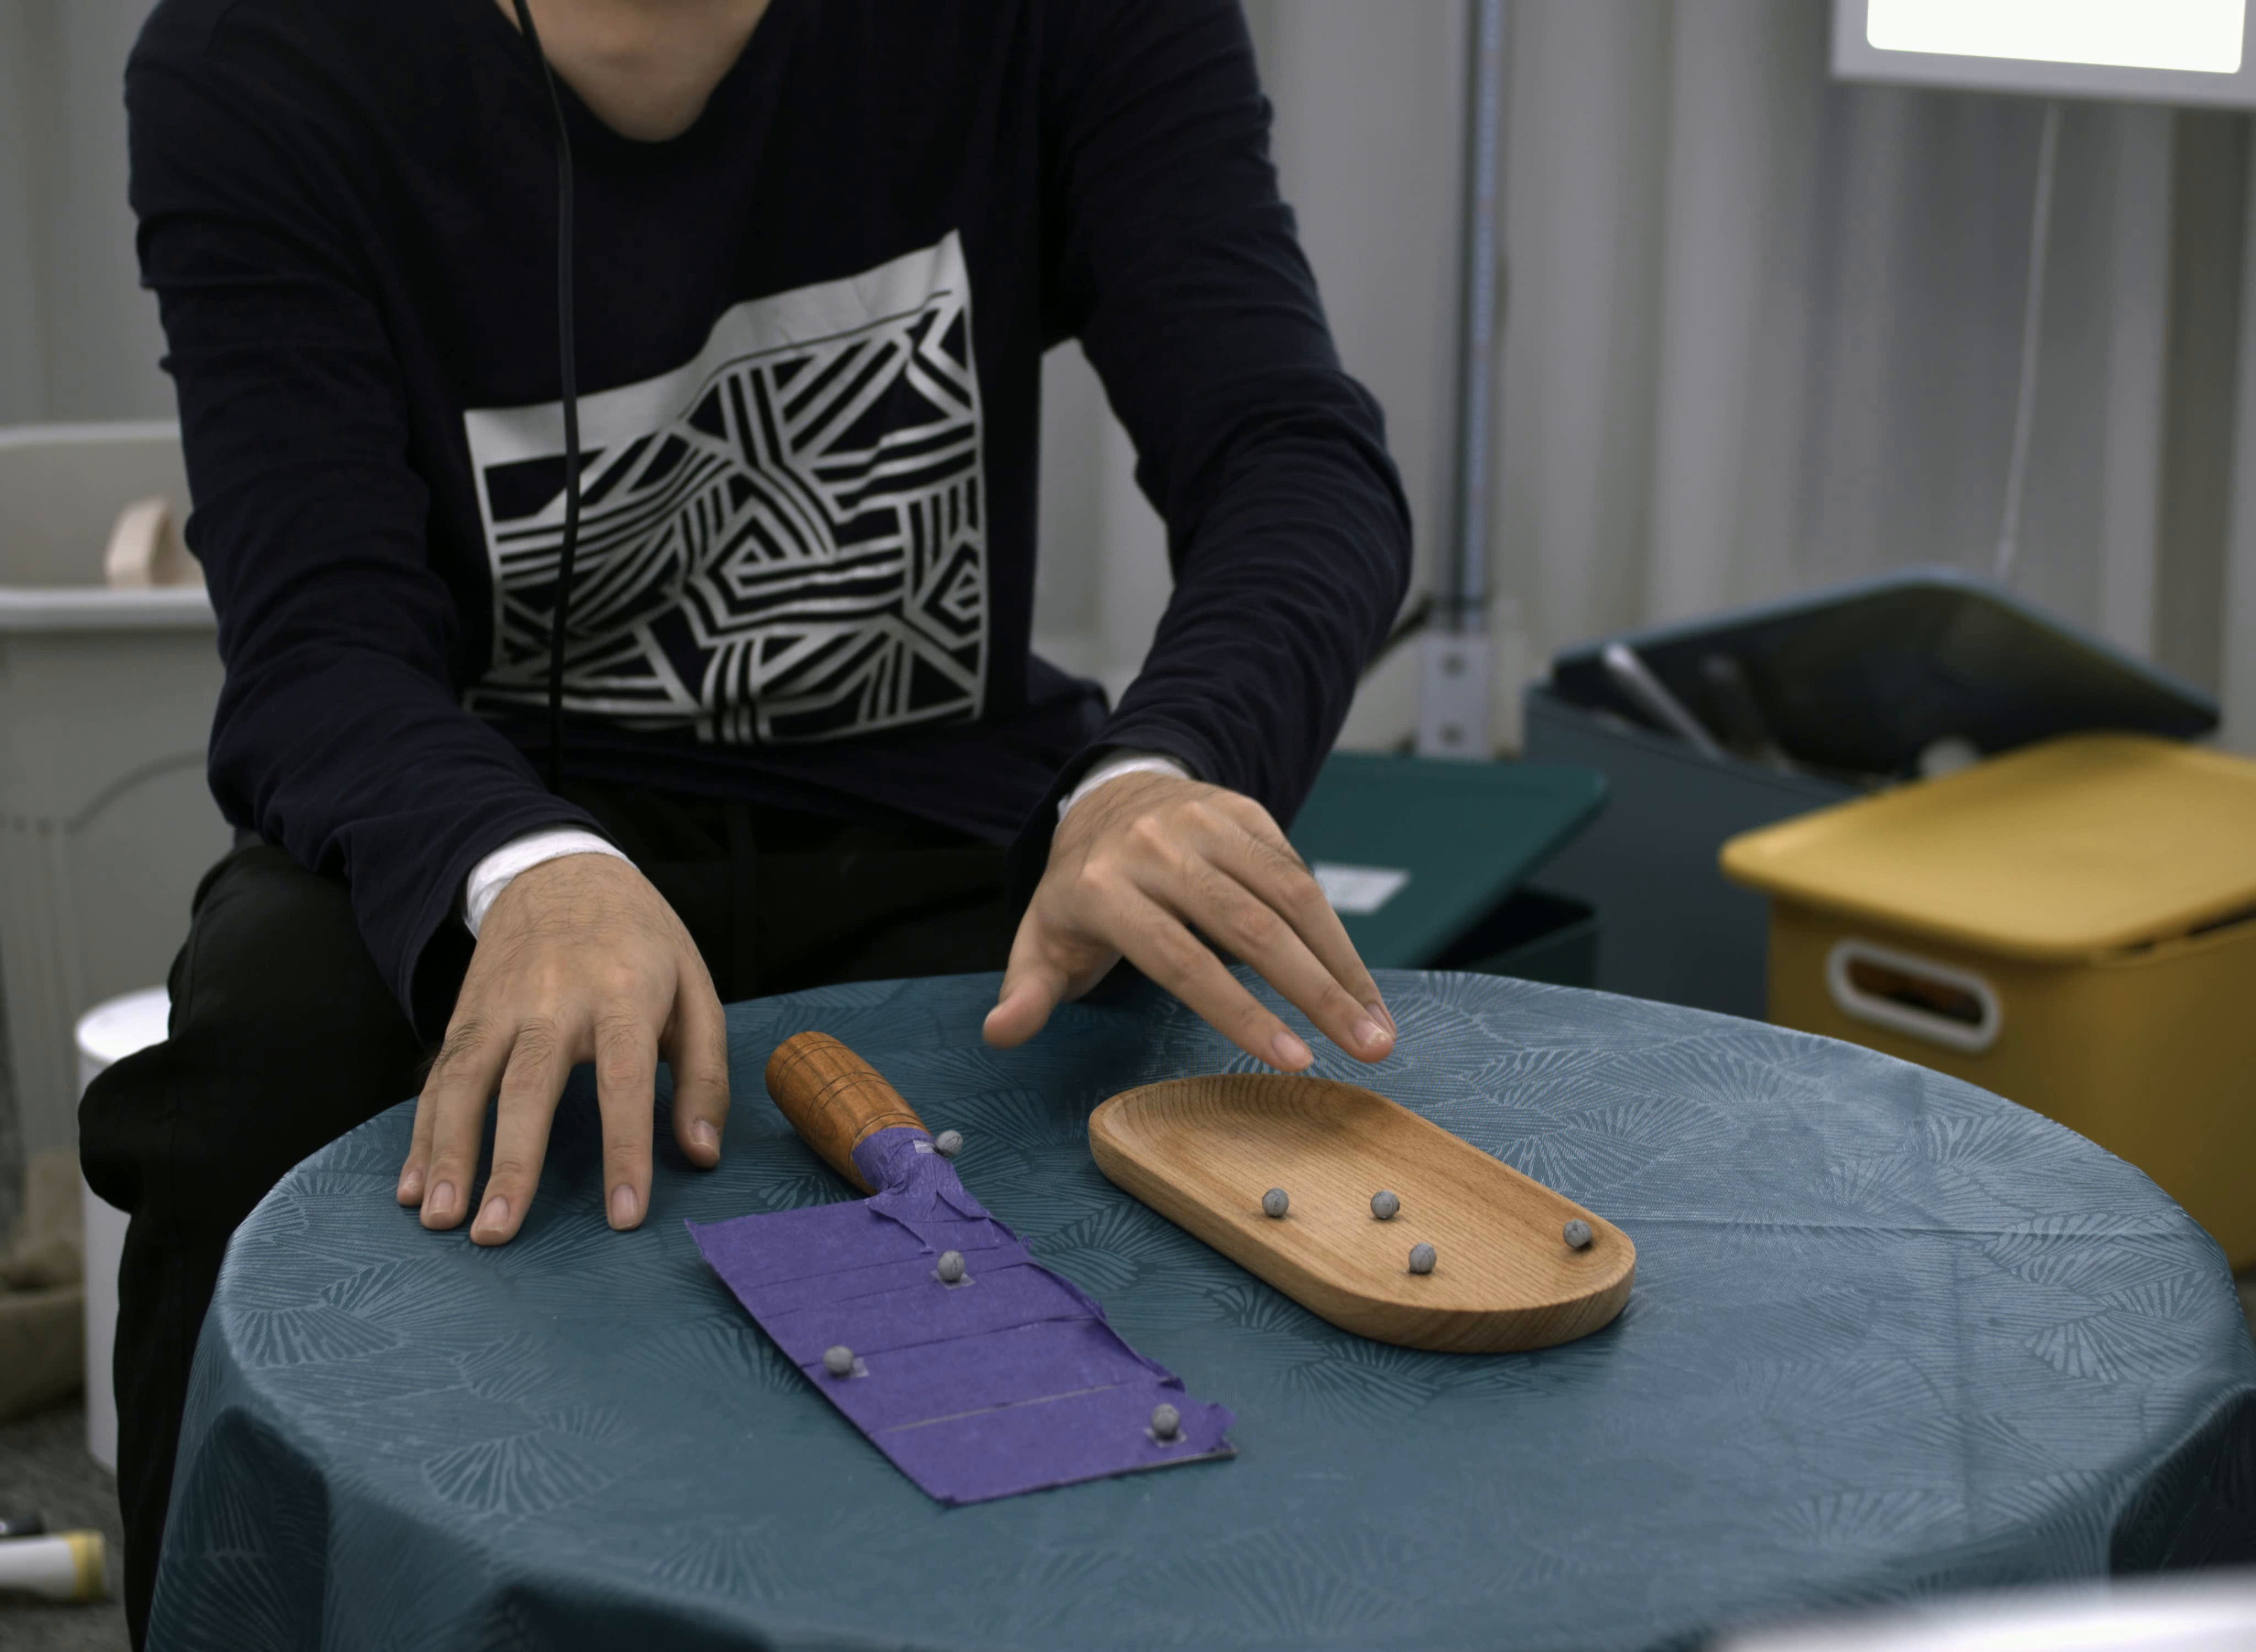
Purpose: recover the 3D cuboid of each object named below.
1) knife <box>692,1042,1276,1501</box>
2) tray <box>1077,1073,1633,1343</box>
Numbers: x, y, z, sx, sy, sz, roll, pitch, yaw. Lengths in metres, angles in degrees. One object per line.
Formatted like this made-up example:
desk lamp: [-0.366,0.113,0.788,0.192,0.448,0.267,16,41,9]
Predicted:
knife: [-0.069,0.125,1.527,0.104,0.032,0.311,-6,17,-24]
tray: [0.066,0.113,1.593,0.102,0.020,0.228,-7,15,-28]
